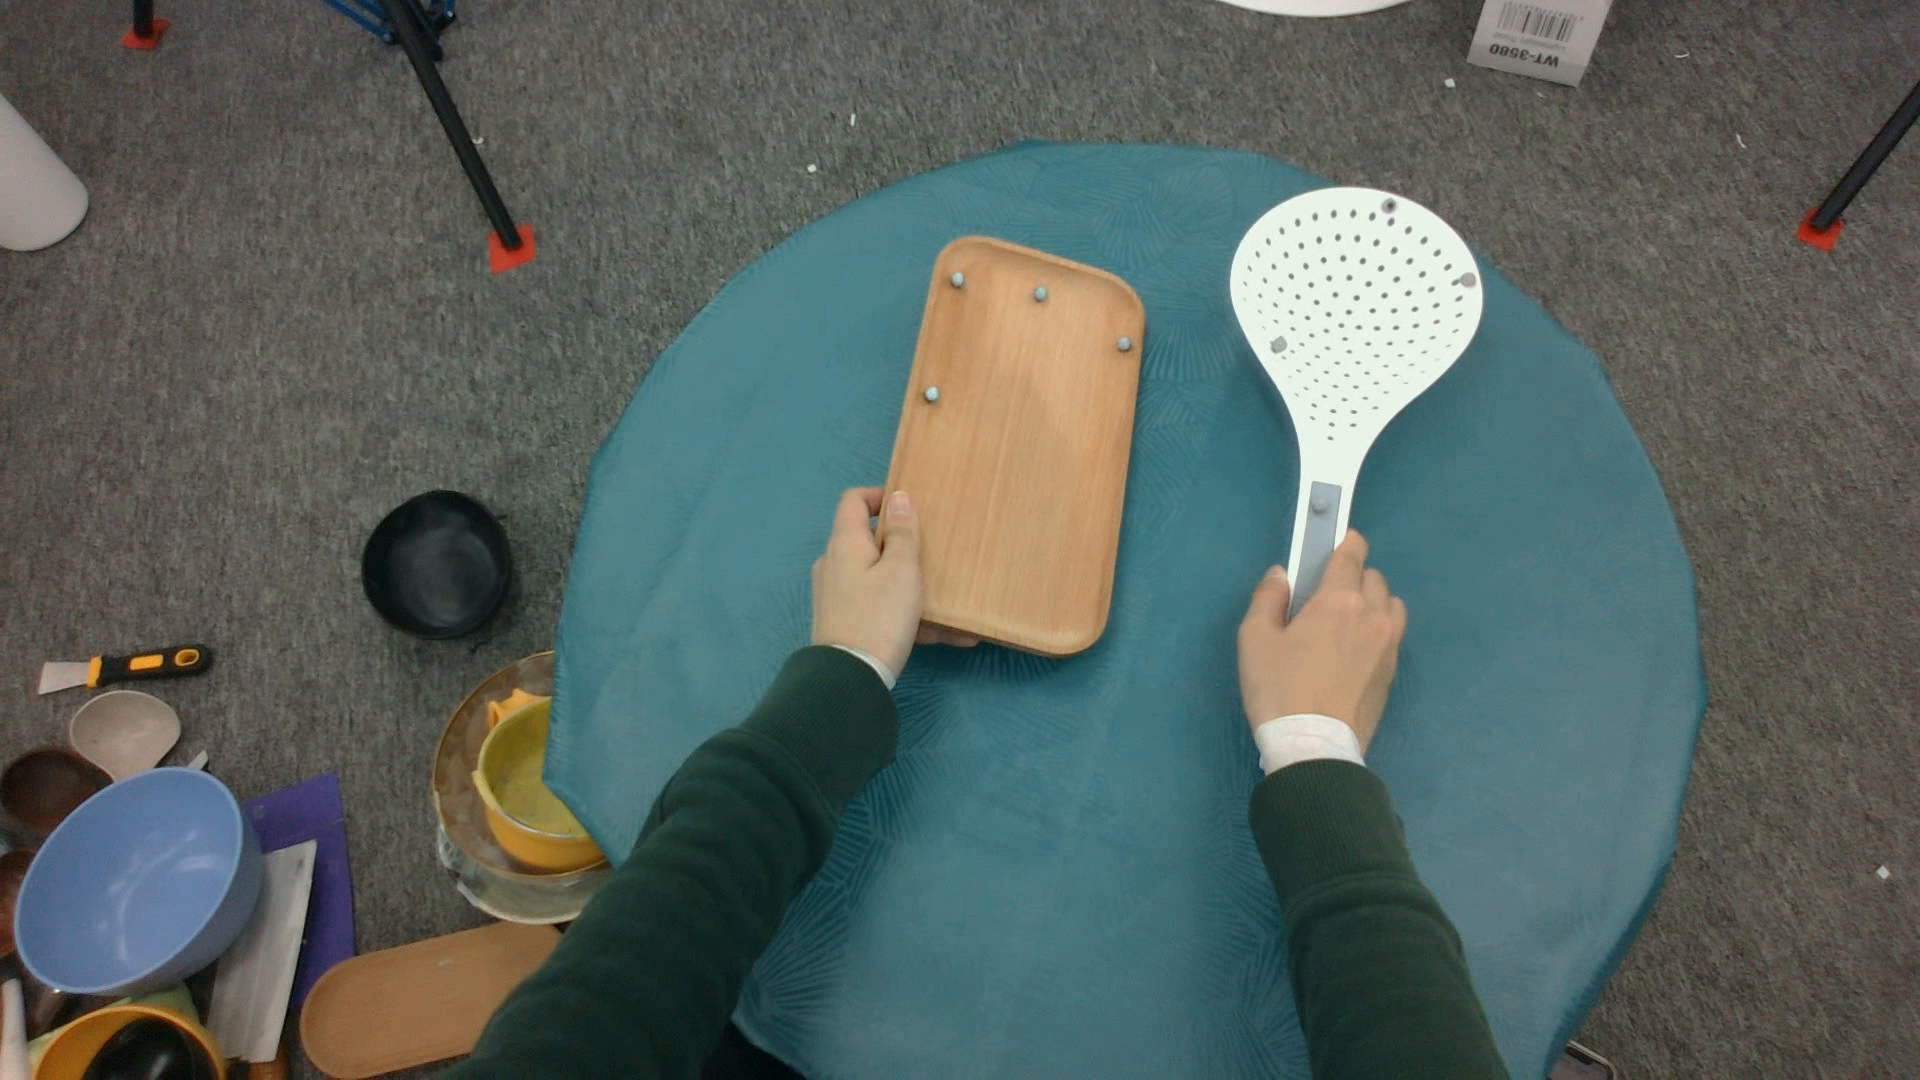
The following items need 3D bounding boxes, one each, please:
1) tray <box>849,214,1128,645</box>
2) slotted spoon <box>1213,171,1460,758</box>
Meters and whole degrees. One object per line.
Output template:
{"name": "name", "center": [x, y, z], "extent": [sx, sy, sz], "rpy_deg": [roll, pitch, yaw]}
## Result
{"name": "tray", "center": [0.020, -0.066, 0.746], "extent": [0.130, 0.023, 0.252], "rpy_deg": [15, 62, -8]}
{"name": "slotted spoon", "center": [0.187, -0.052, 0.734], "extent": [0.136, 0.045, 0.351], "rpy_deg": [10, 62, 10]}
